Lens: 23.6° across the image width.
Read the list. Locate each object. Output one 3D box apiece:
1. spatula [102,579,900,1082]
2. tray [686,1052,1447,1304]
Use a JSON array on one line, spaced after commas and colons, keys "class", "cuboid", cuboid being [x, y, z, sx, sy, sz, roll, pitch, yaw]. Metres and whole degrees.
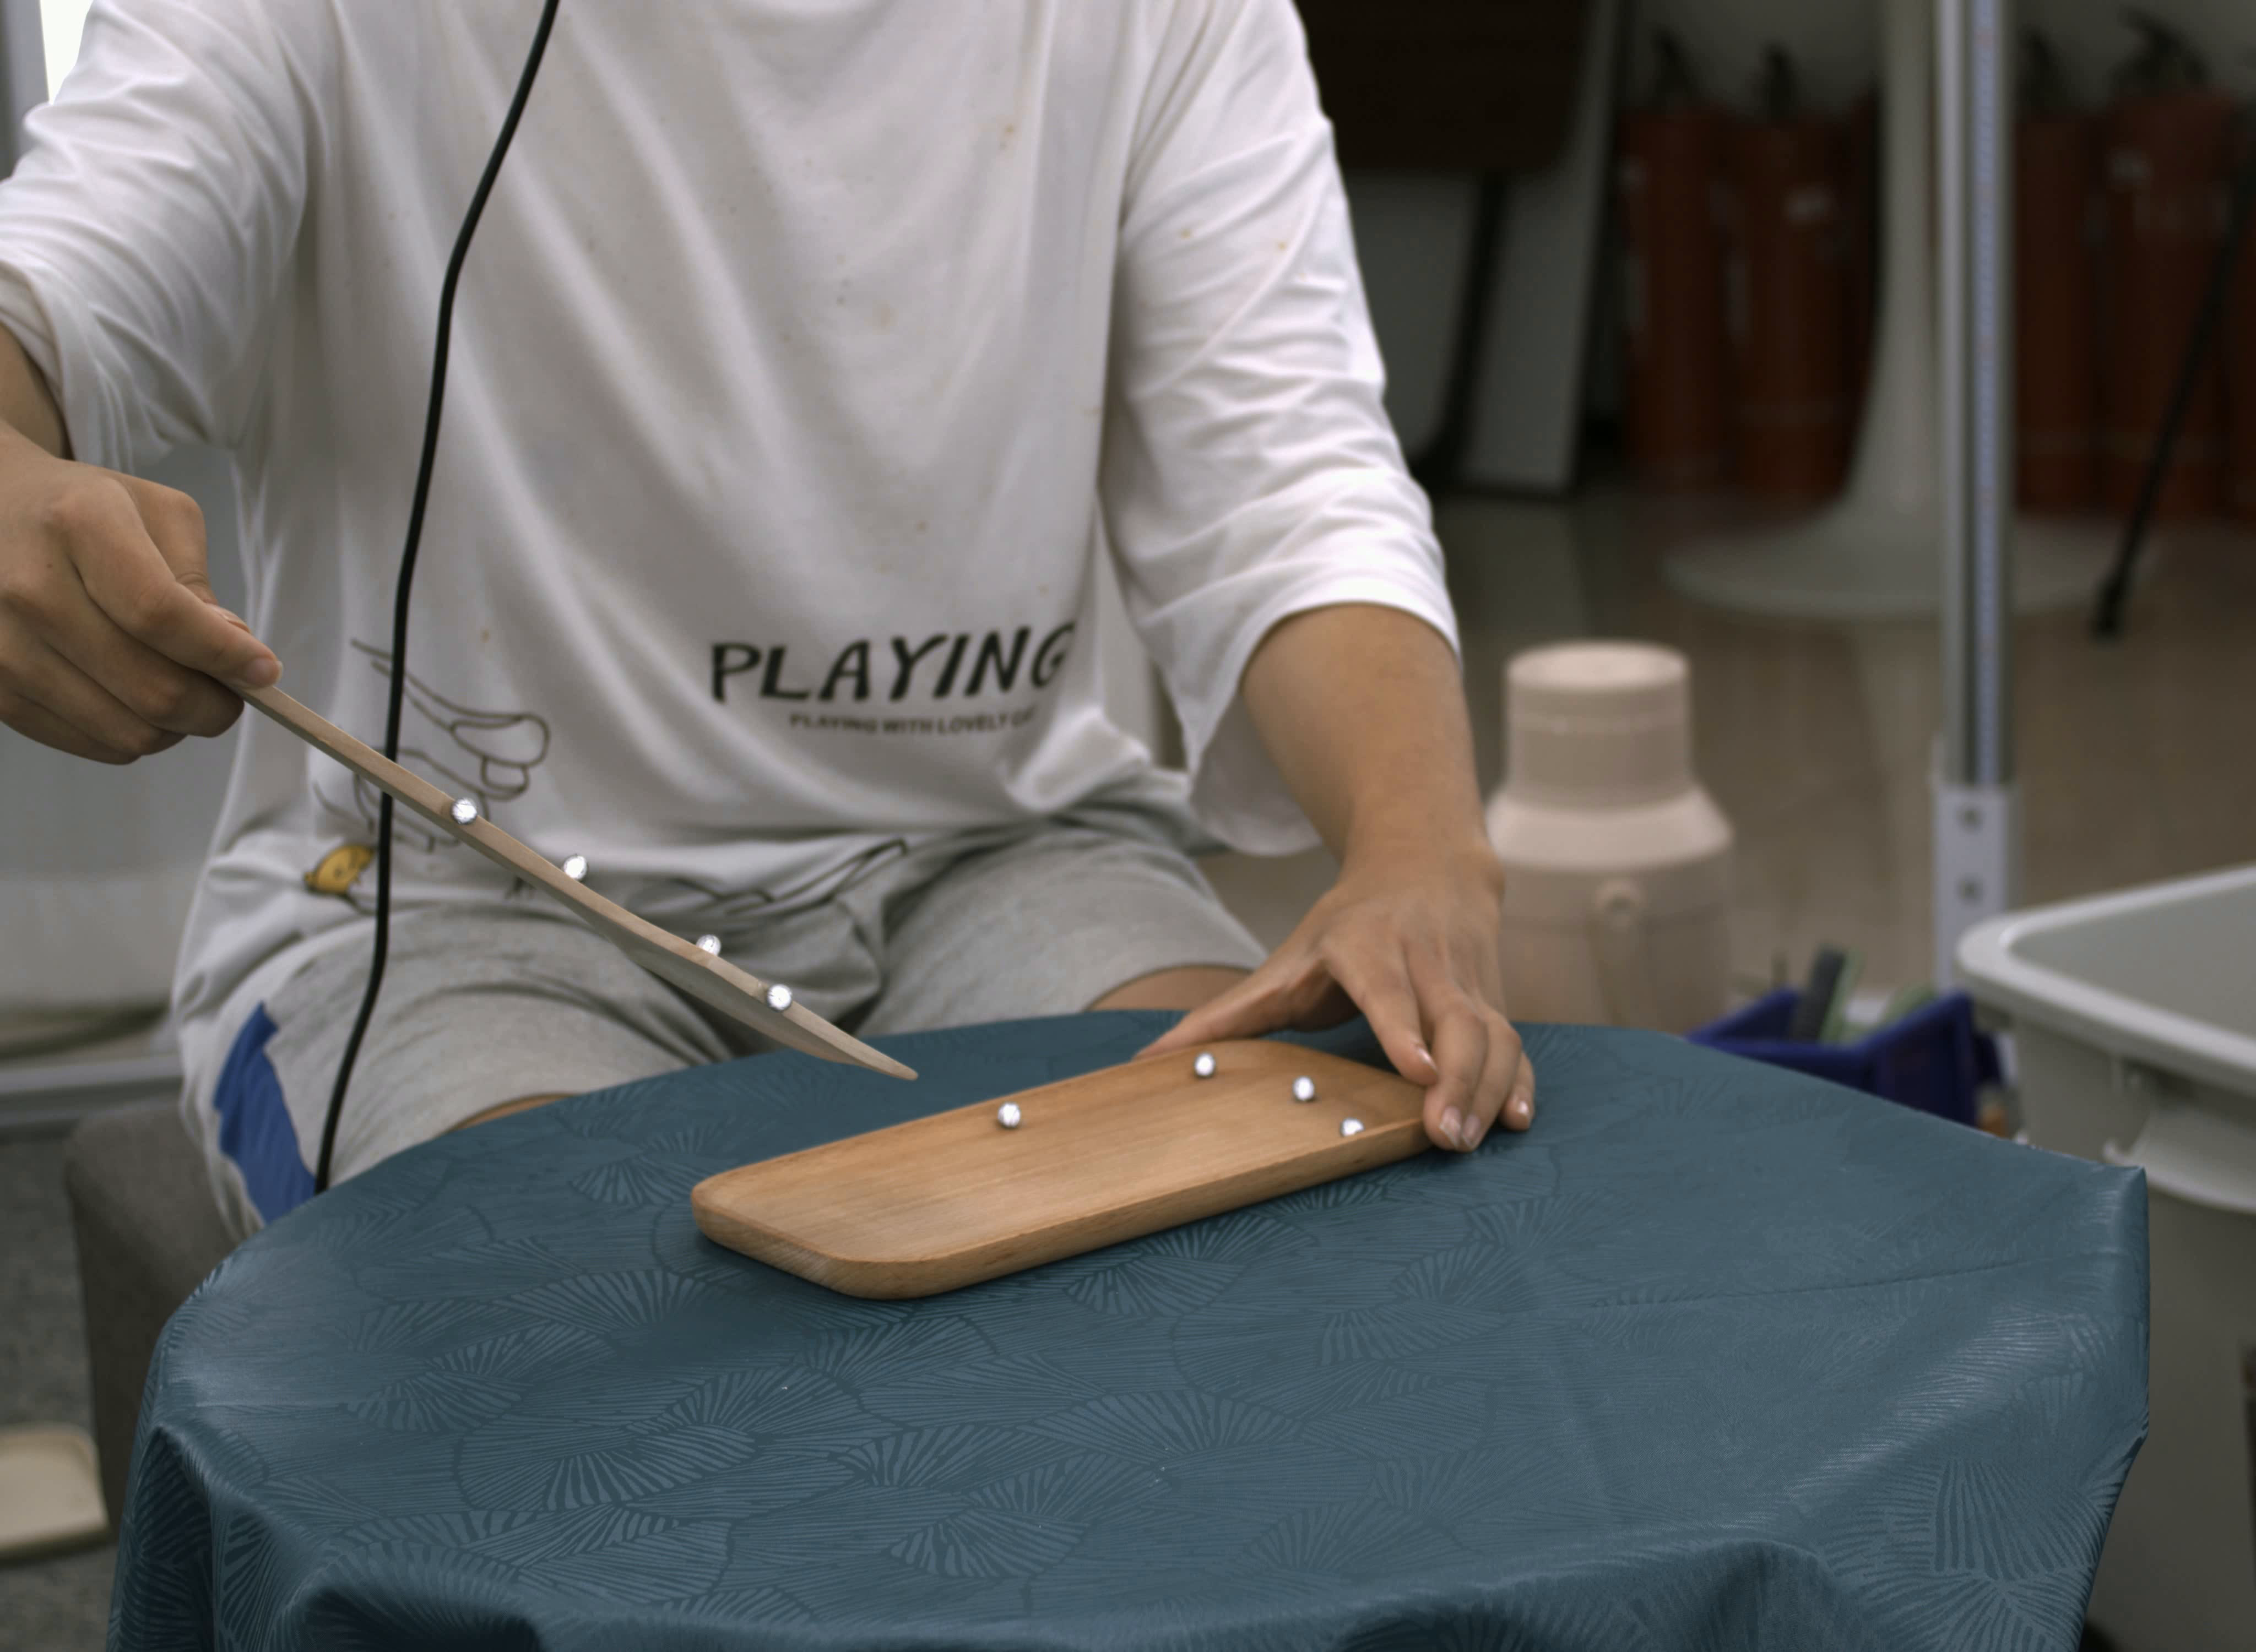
[{"class": "spatula", "cuboid": [-0.192, 0.005, 1.658, 0.289, 0.011, 0.073, 35, -13, -24]}, {"class": "tray", "cuboid": [-0.018, 0.114, 1.780, 0.245, 0.023, 0.132, -13, 13, -33]}]
